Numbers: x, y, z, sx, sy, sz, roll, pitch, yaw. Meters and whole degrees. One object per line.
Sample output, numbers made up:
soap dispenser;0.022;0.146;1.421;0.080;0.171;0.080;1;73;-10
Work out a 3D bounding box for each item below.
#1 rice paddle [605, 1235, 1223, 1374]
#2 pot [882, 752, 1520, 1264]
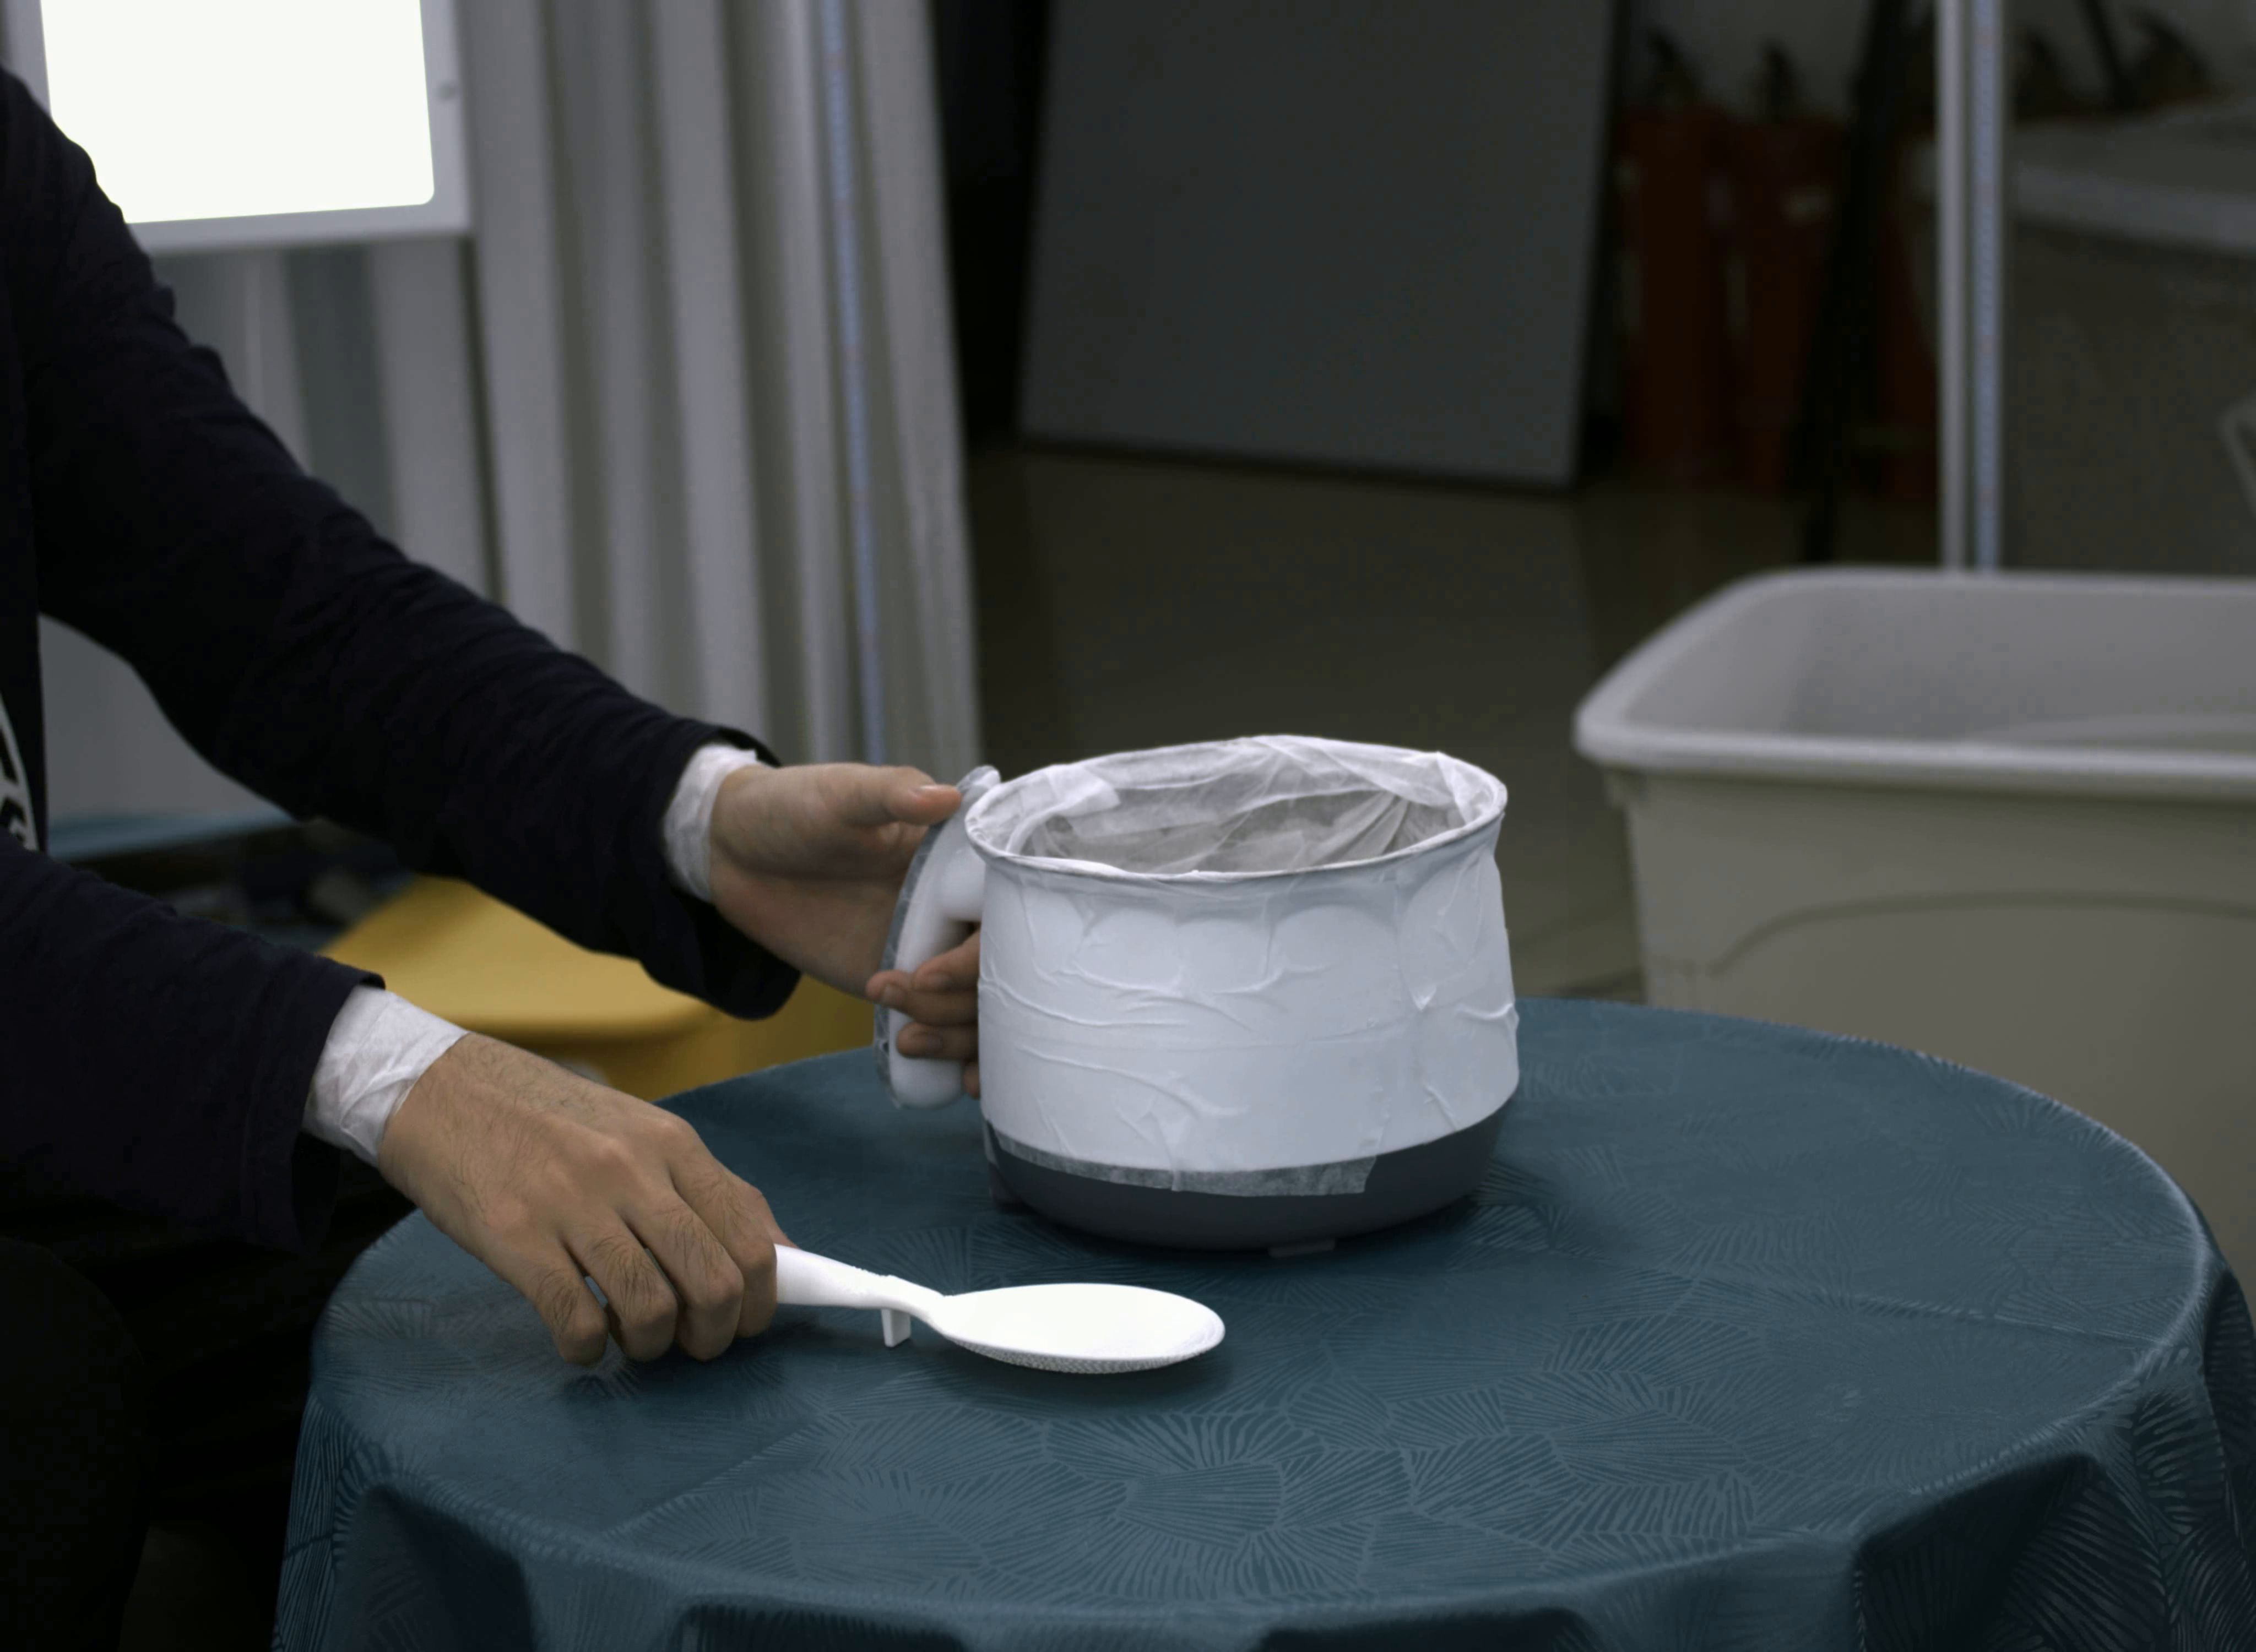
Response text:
rice paddle;-0.065;0.145;1.636;0.206;0.030;0.068;2;15;28
pot;0.016;0.056;1.765;0.235;0.138;0.175;3;13;34
